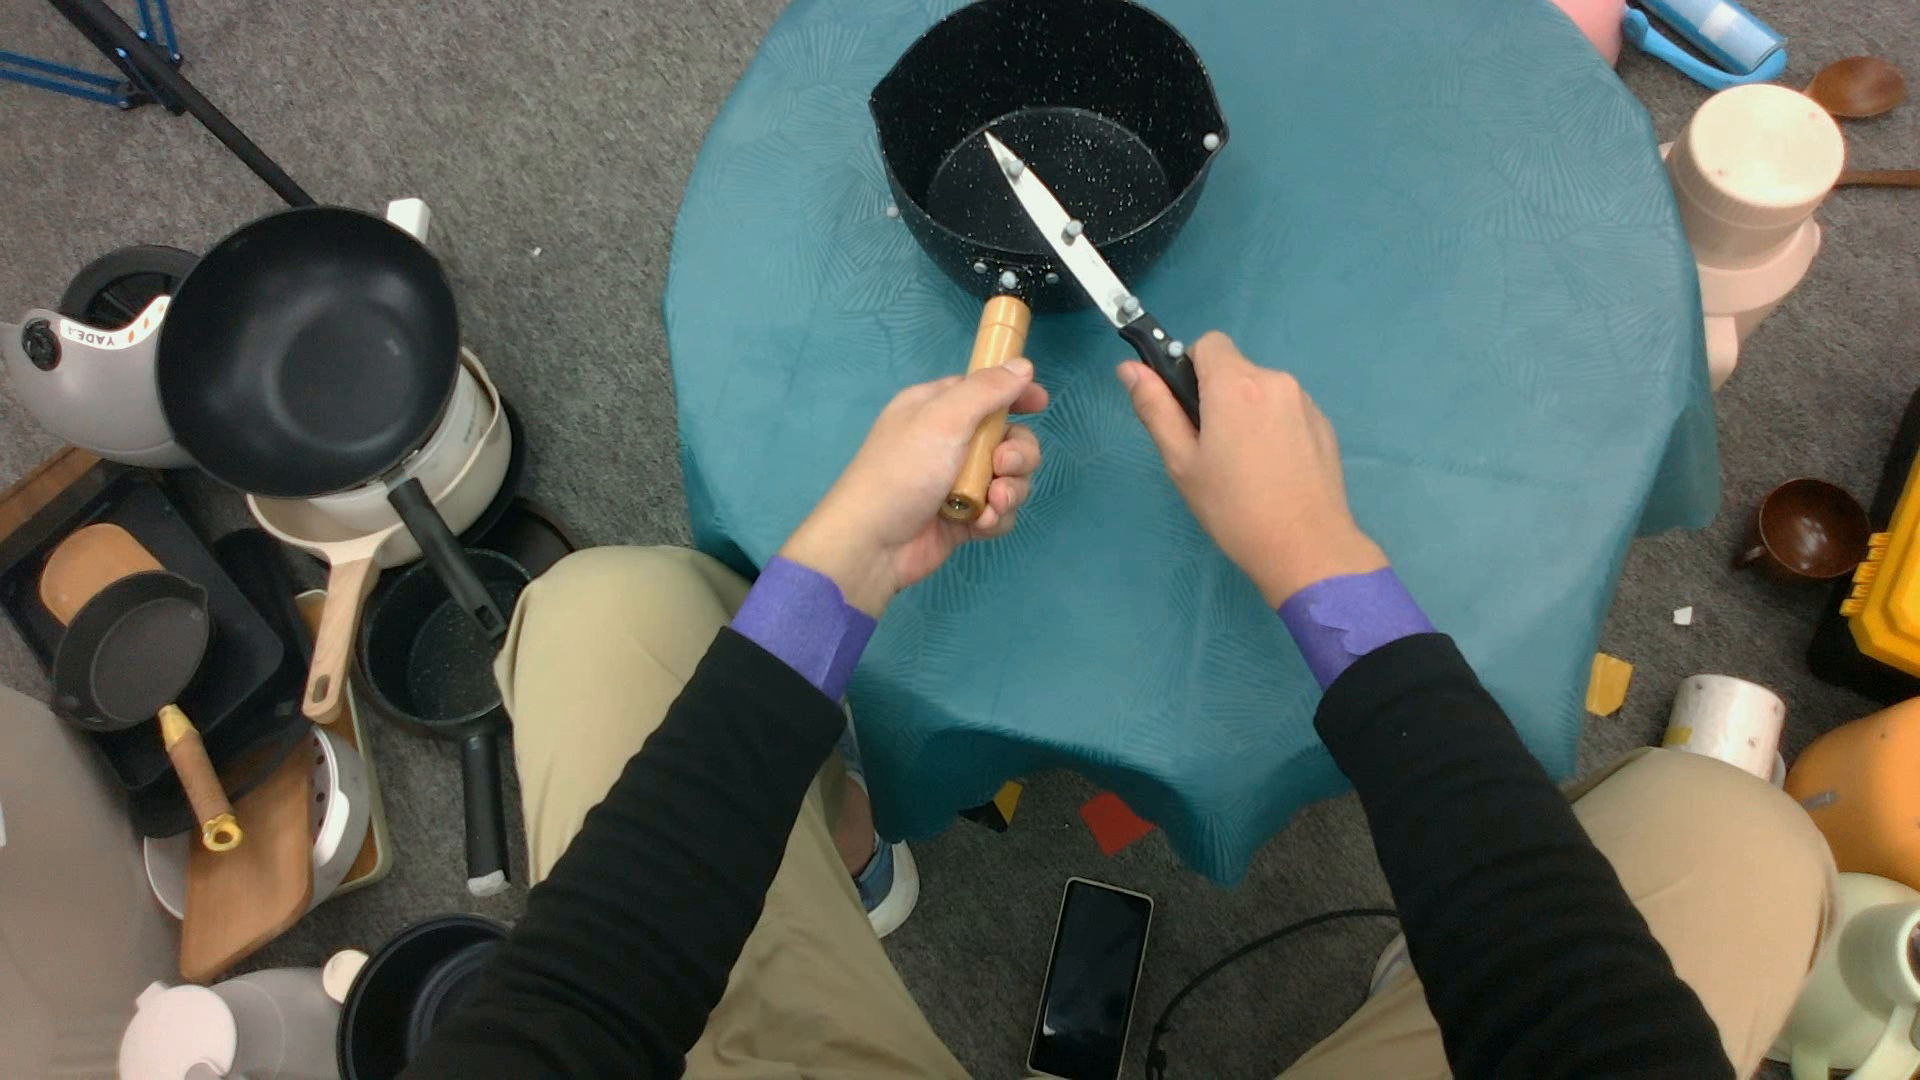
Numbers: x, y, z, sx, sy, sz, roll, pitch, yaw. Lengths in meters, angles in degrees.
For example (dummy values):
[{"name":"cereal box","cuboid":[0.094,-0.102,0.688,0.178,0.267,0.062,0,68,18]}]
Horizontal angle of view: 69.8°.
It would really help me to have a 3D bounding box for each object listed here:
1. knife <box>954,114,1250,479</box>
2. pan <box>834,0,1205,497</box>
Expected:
[{"name":"knife","cuboid":[0.073,-0.129,0.708,0.024,0.016,0.238,-35,85,-34]},{"name":"pan","cuboid":[0.020,-0.159,0.751,0.207,0.108,0.344,8,66,6]}]
